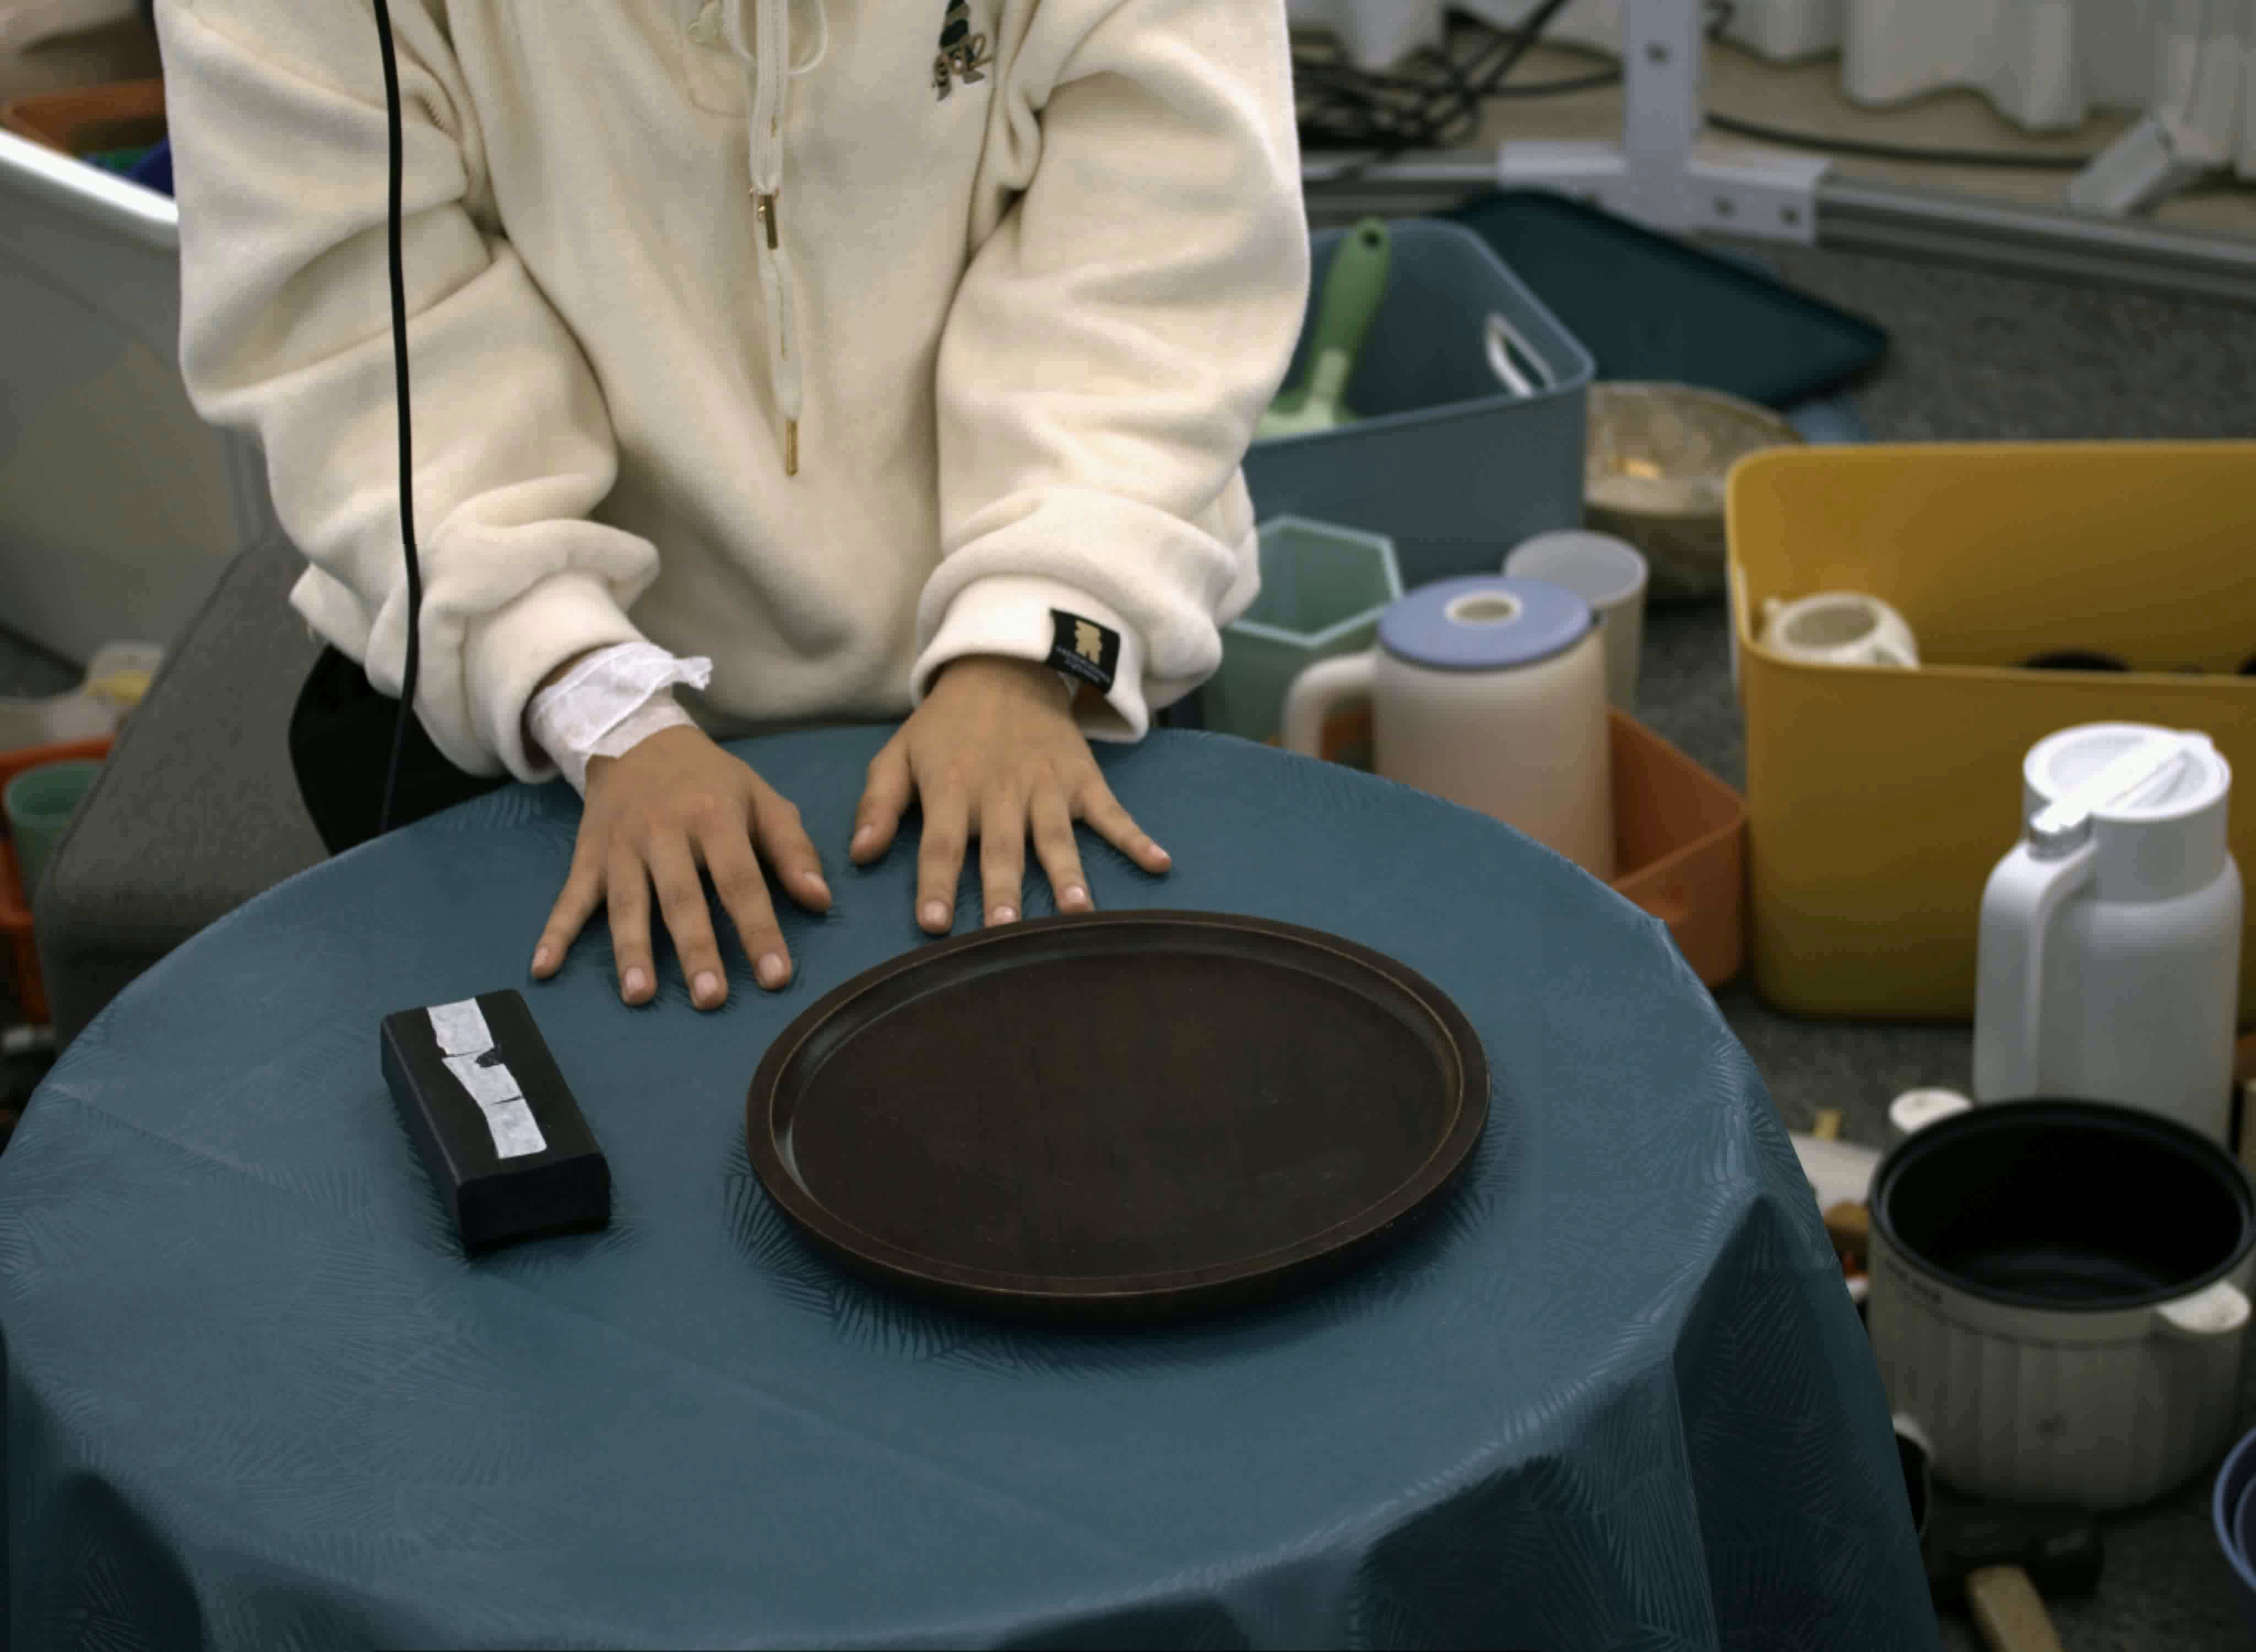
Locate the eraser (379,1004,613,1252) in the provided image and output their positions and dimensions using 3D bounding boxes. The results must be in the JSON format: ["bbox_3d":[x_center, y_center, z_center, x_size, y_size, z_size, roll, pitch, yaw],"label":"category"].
[{"bbox_3d":[-0.213,0.101,1.894,0.053,0.030,0.126,-9,26,-17],"label":"eraser"}]

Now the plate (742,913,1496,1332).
[{"bbox_3d":[-0.003,0.097,1.883,0.253,0.029,0.259,-2,29,1],"label":"plate"}]
